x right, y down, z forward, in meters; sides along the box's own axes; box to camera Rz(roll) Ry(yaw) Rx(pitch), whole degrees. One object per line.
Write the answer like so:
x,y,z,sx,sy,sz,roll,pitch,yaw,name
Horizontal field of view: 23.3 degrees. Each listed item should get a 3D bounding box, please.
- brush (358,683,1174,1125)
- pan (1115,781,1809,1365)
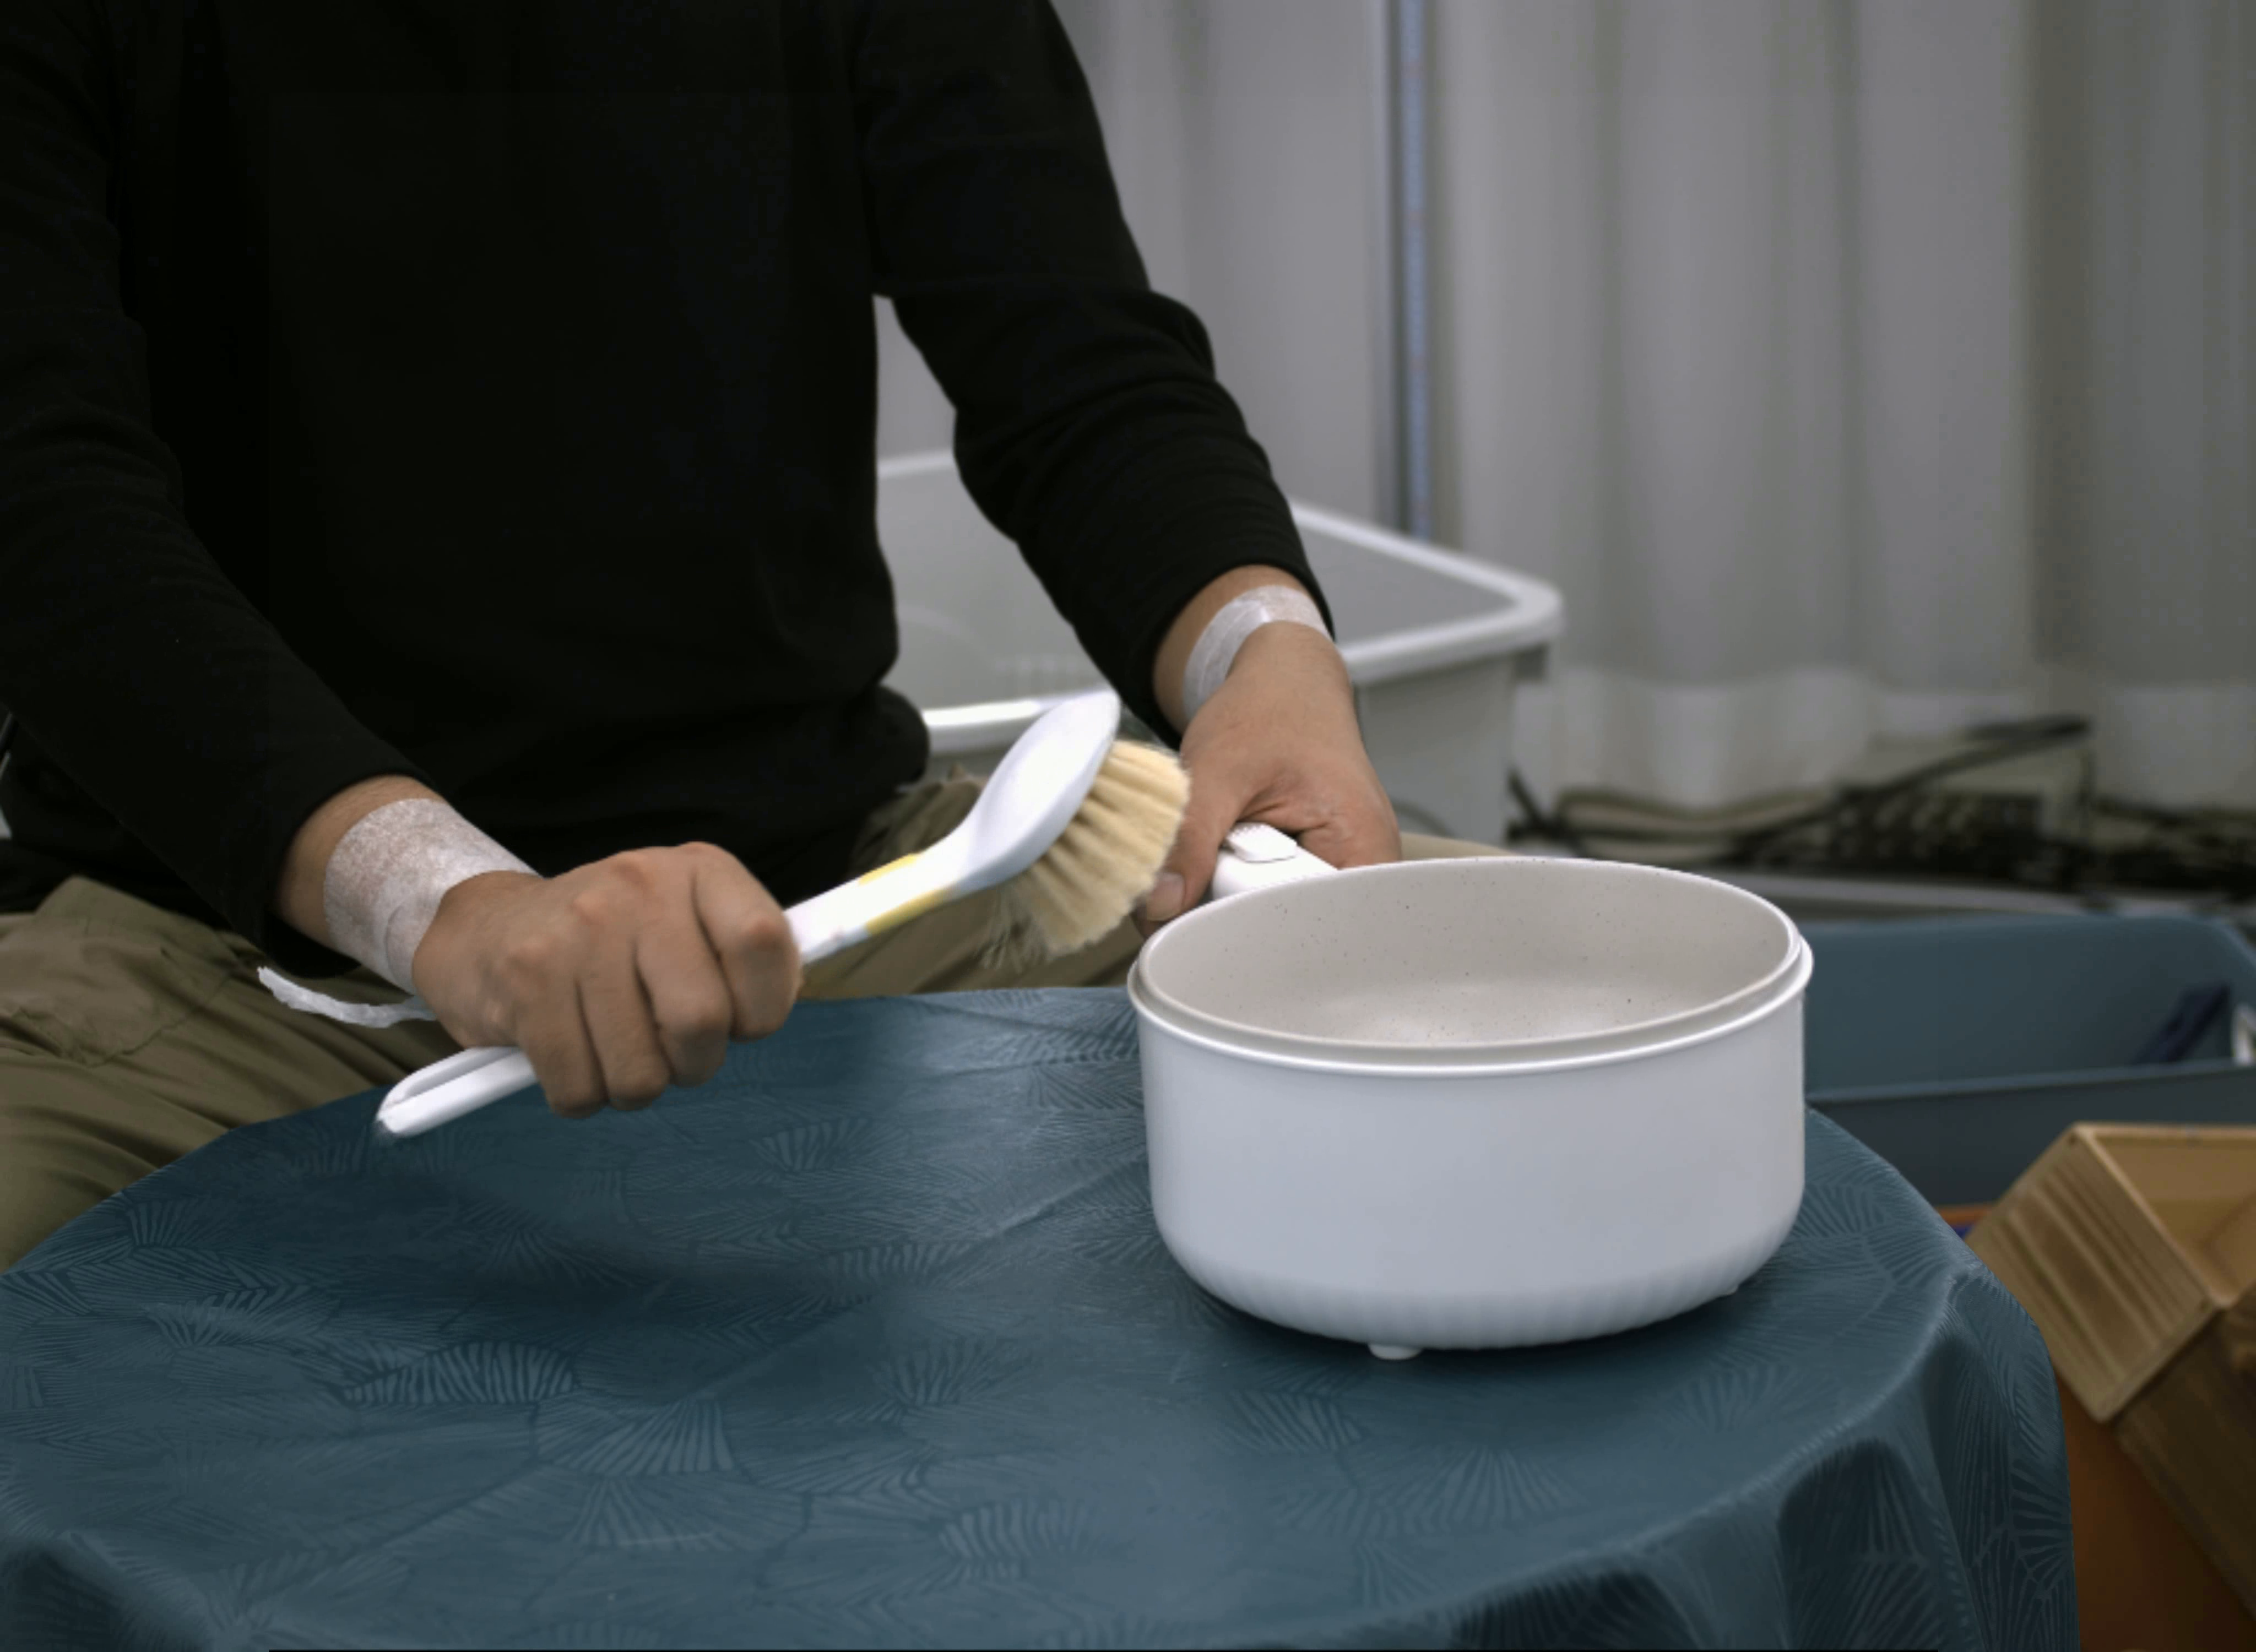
-0.103,0.042,1.615,0.266,0.056,0.069,-28,21,13,brush
0.073,0.069,1.685,0.200,0.102,0.357,-9,15,-20,pan
